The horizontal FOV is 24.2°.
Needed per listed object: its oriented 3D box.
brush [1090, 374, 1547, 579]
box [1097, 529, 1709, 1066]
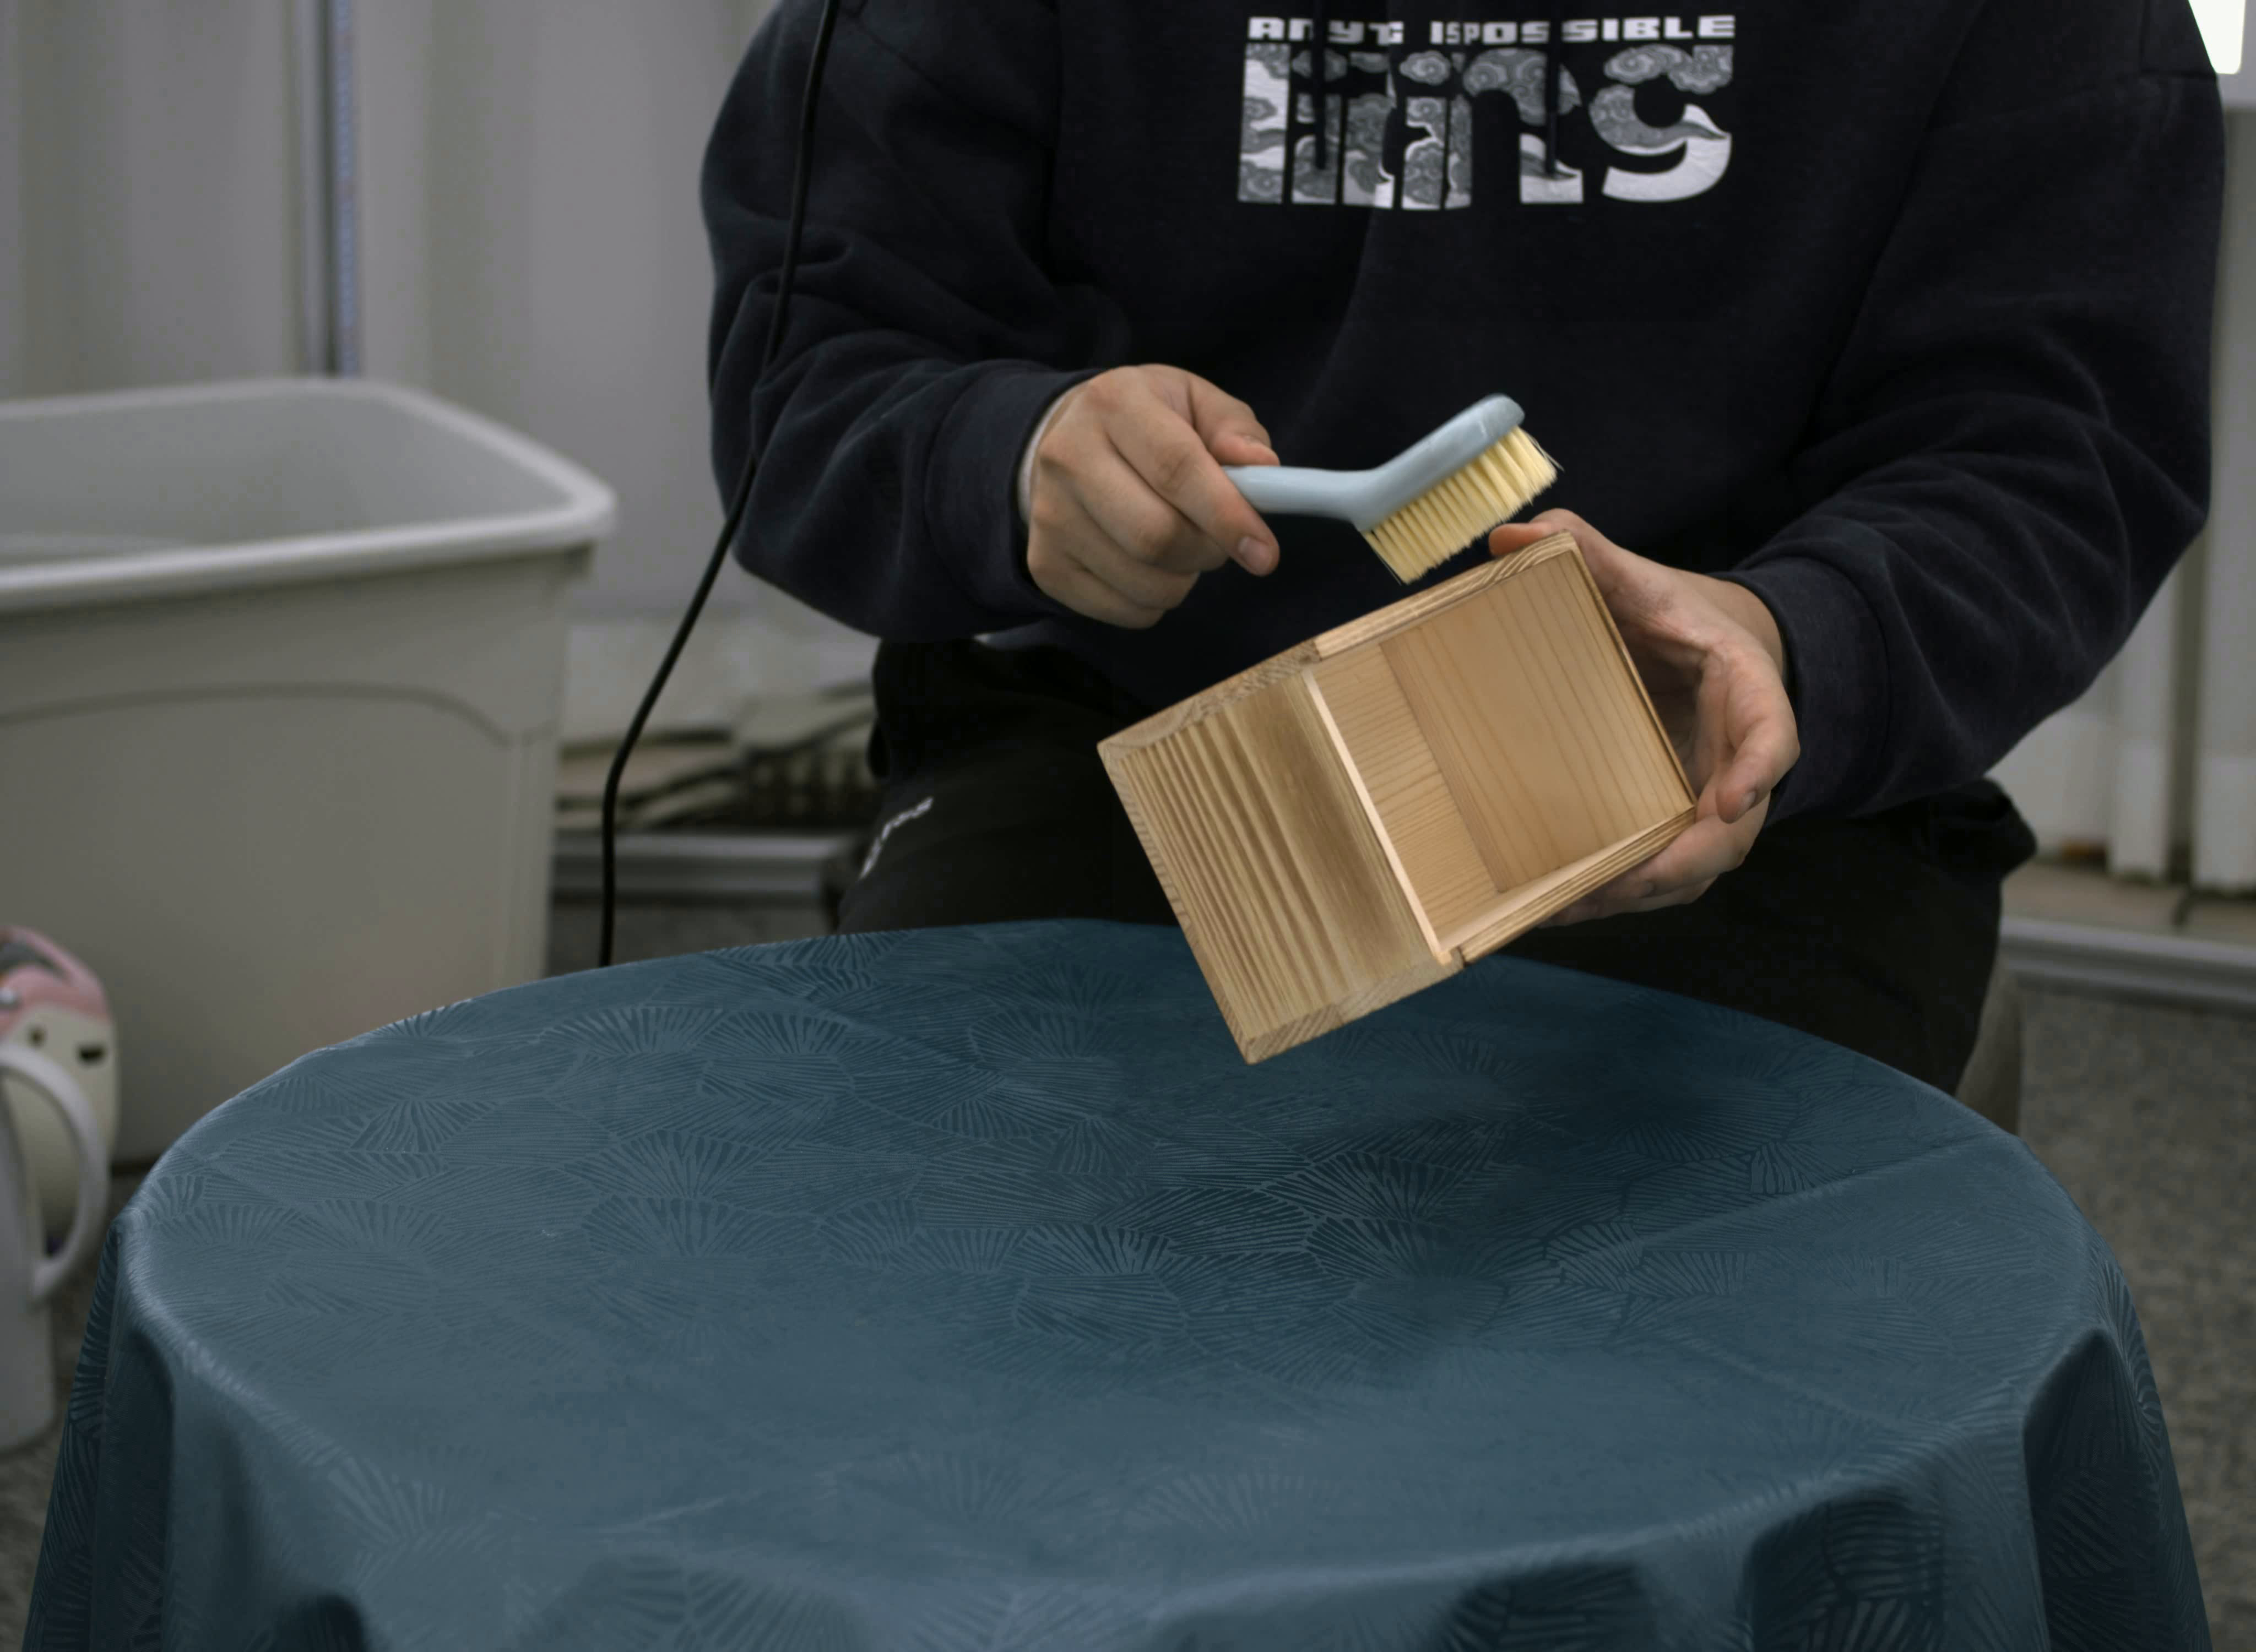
[{"bbox_3d":[0.057,-0.102,1.723,0.038,0.050,0.227,-42,17,-33],"label":"brush"},{"bbox_3d":[0.089,-0.012,1.619,0.080,0.108,0.212,-25,1,29],"label":"box"}]
